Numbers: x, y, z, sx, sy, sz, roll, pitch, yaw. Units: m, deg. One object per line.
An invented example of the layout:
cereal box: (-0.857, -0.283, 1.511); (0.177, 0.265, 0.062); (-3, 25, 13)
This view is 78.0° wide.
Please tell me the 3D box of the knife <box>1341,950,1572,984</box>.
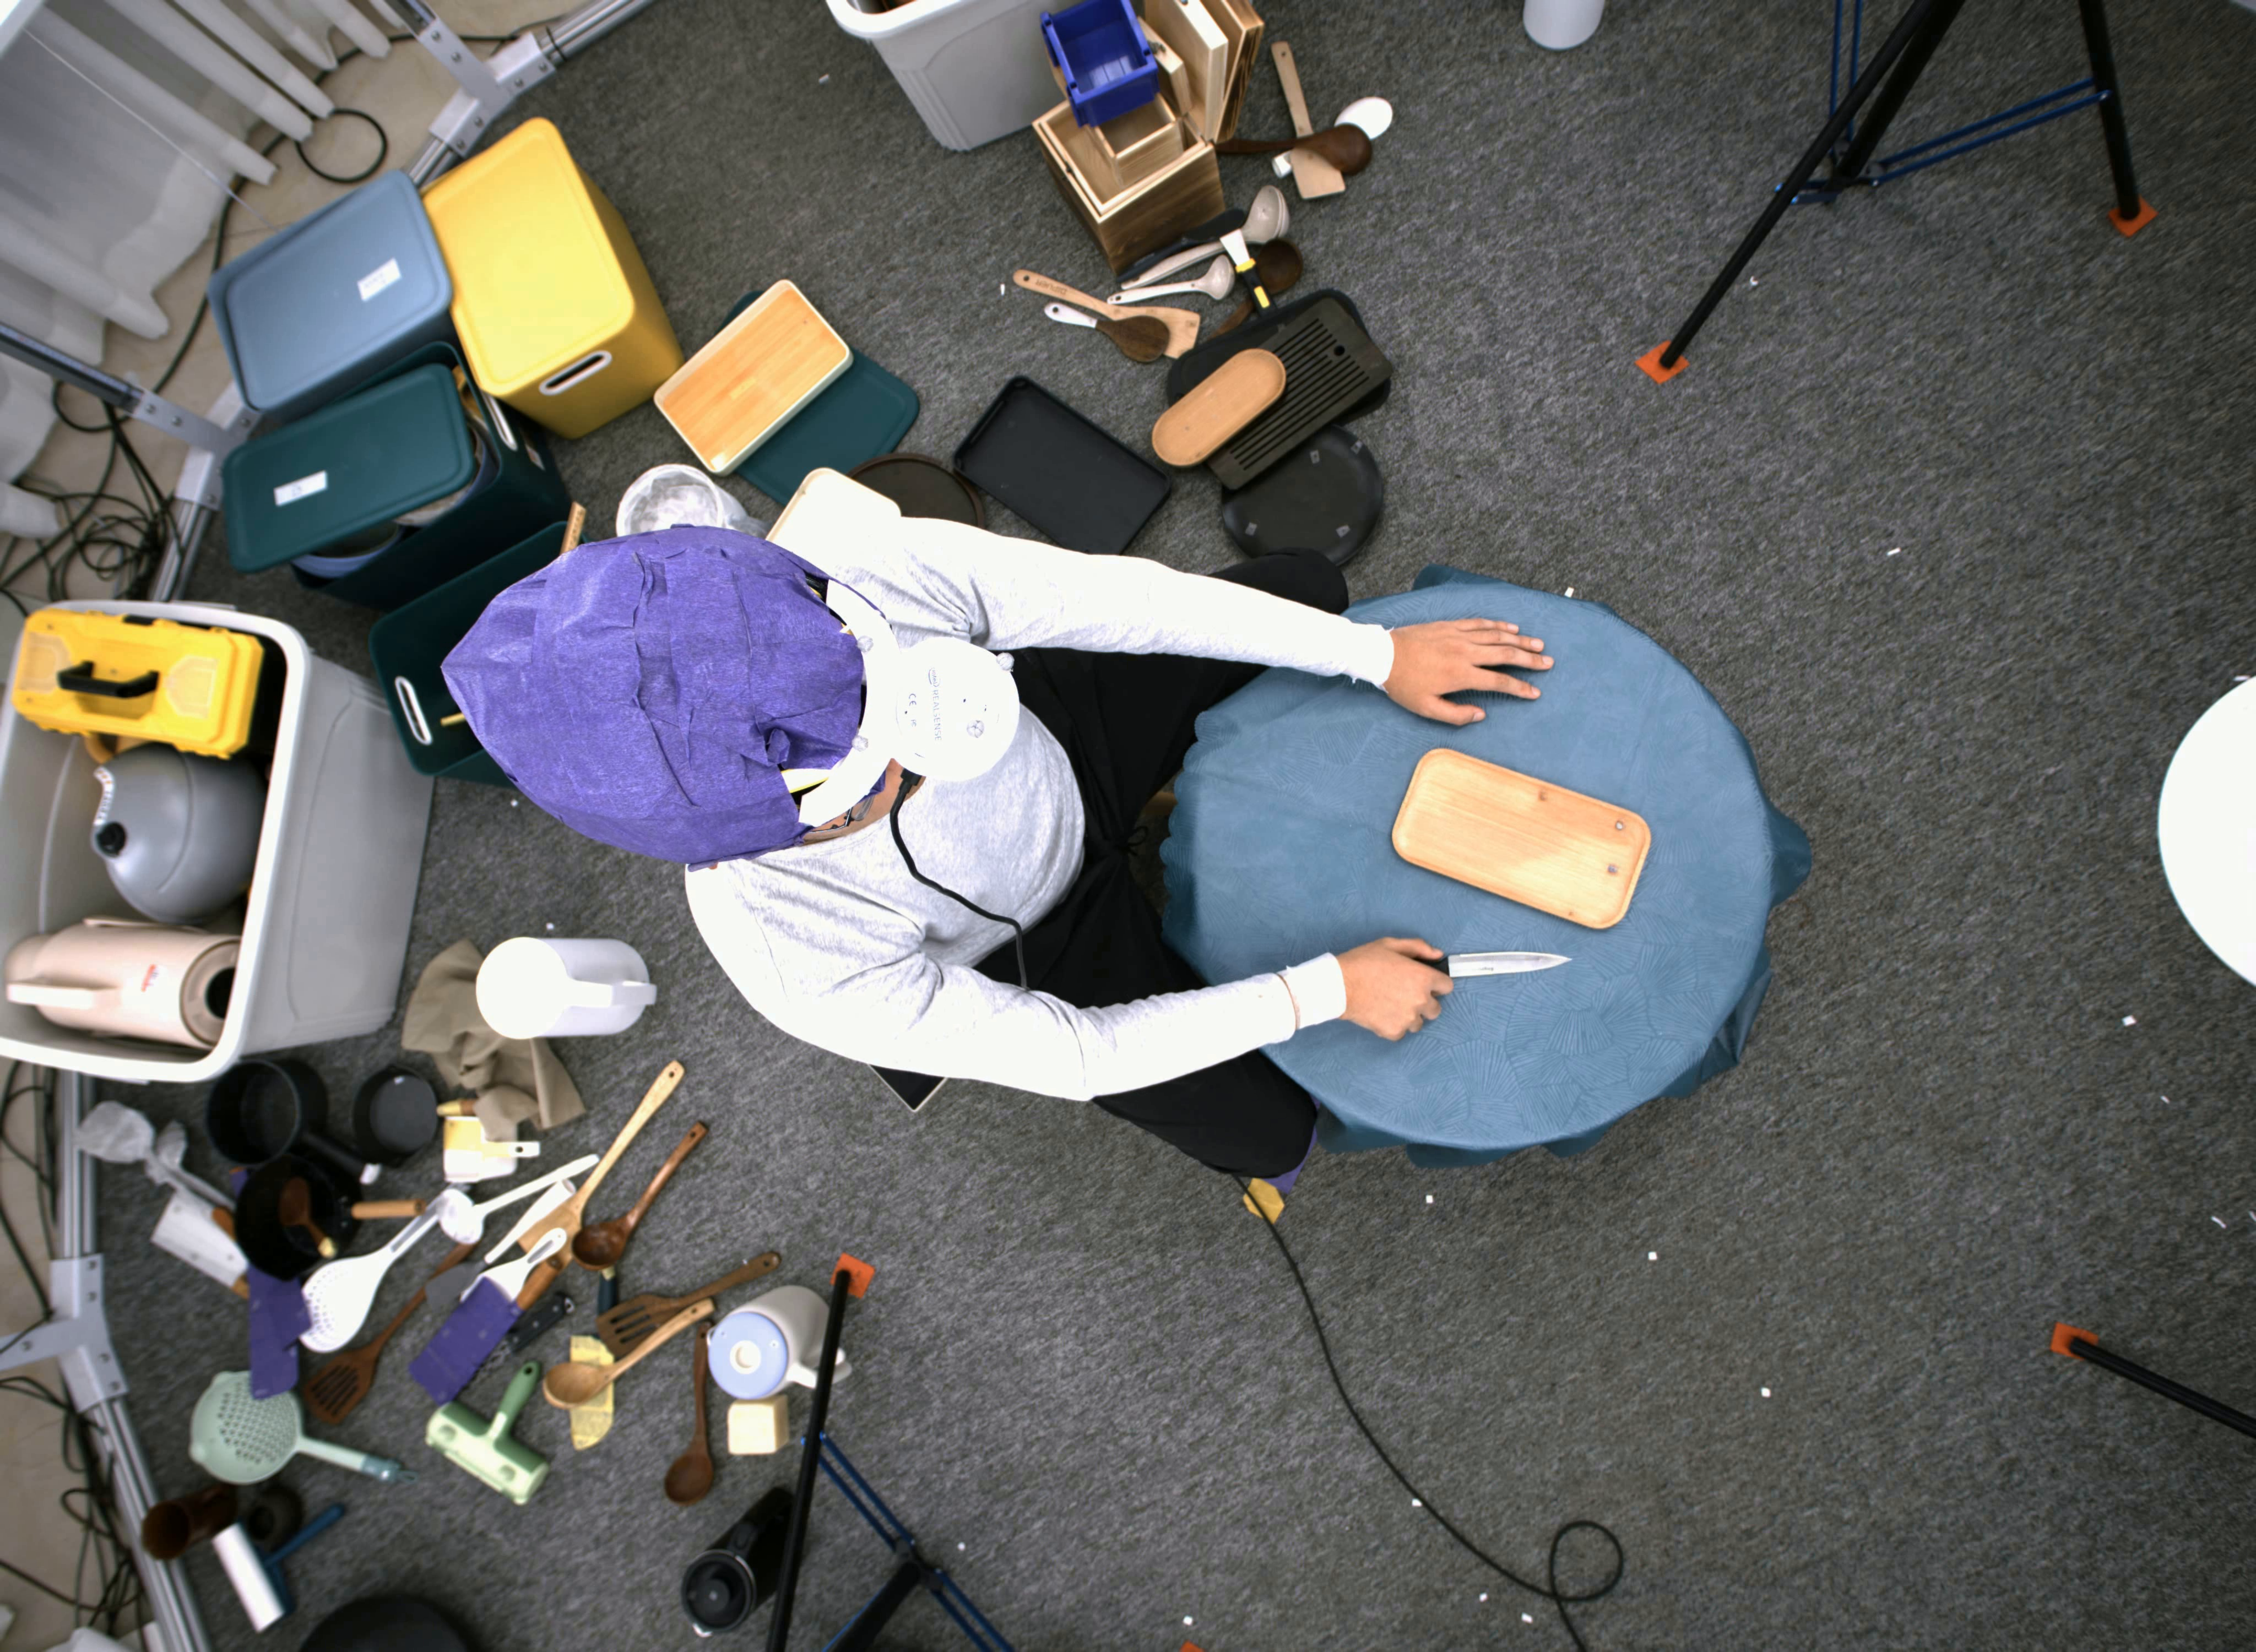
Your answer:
knife: (0.342, 0.145, 1.436); (0.239, 0.016, 0.024); (-6, 85, 7)

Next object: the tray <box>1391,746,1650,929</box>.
tray: (0.406, 0.009, 1.430); (0.250, 0.023, 0.130); (21, 88, 12)
